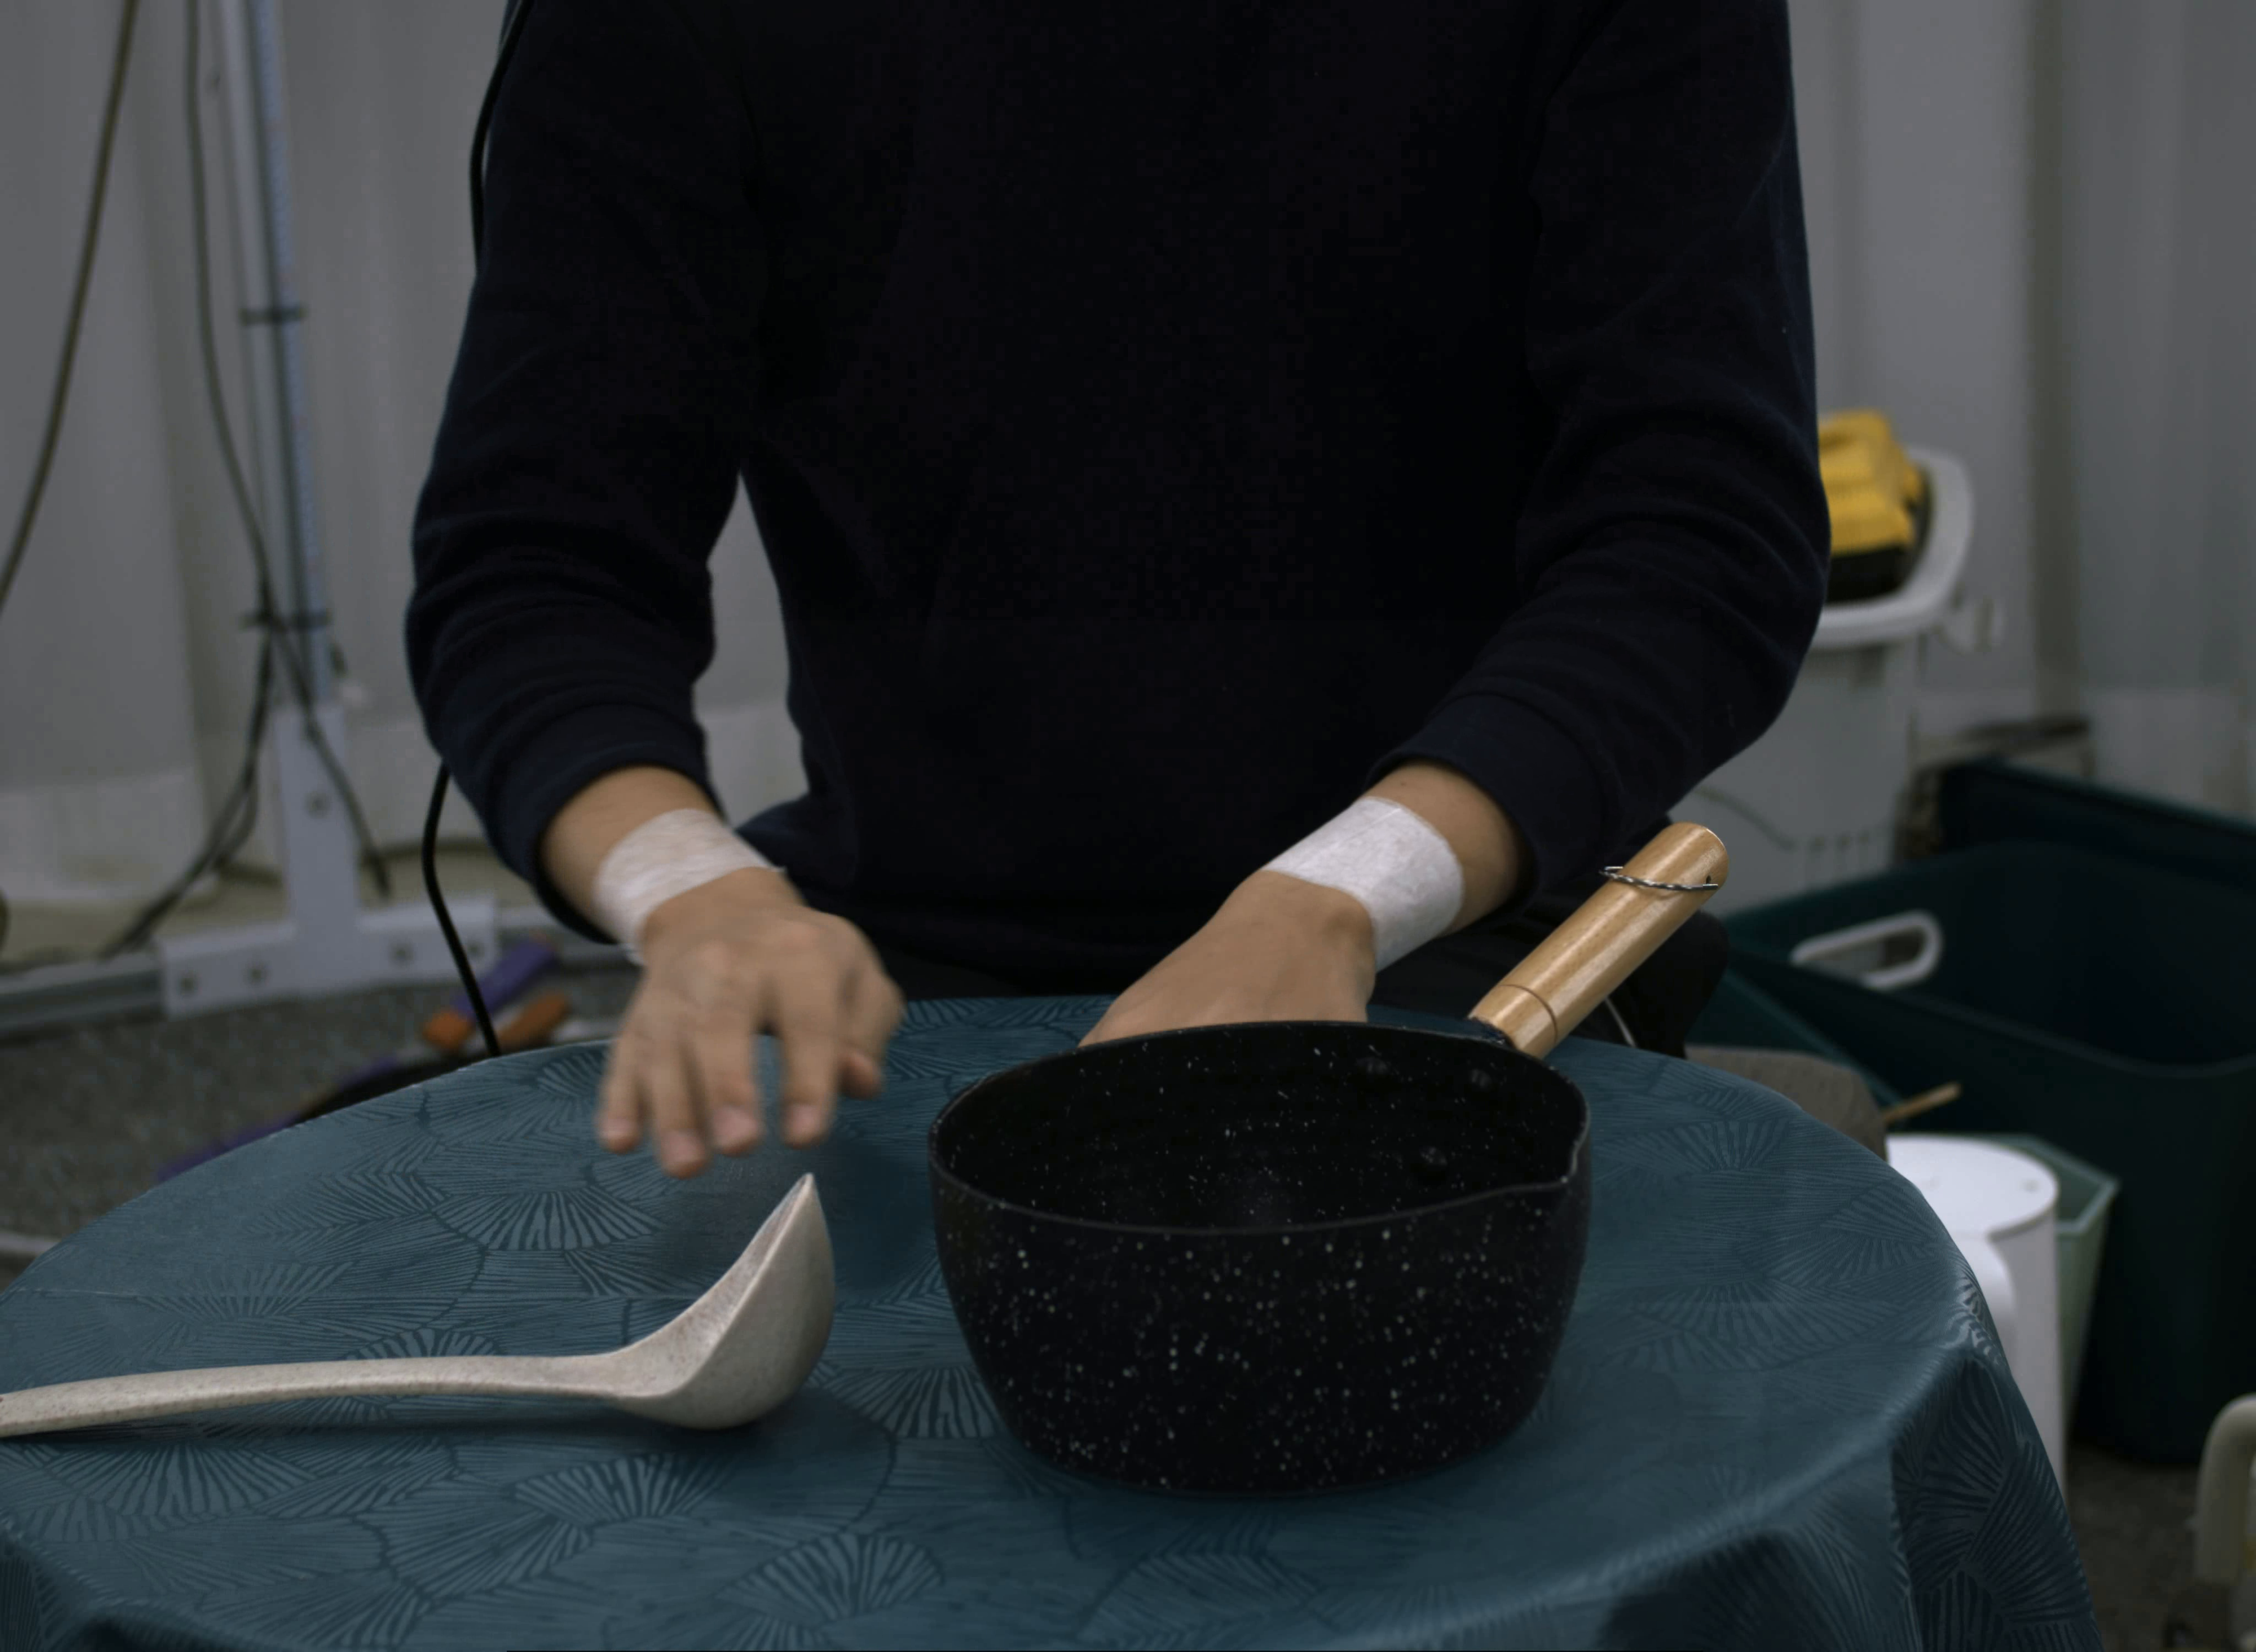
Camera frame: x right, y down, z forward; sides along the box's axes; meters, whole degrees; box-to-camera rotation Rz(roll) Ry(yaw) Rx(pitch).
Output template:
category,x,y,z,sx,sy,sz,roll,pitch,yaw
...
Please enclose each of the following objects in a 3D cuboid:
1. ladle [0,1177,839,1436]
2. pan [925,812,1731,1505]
category,x,y,z,sx,sy,sz,roll,pitch,yaw
ladle,-0.217,0.138,1.542,0.274,0.069,0.090,-2,20,5
pan,0.082,0.091,1.581,0.208,0.108,0.343,6,19,34
